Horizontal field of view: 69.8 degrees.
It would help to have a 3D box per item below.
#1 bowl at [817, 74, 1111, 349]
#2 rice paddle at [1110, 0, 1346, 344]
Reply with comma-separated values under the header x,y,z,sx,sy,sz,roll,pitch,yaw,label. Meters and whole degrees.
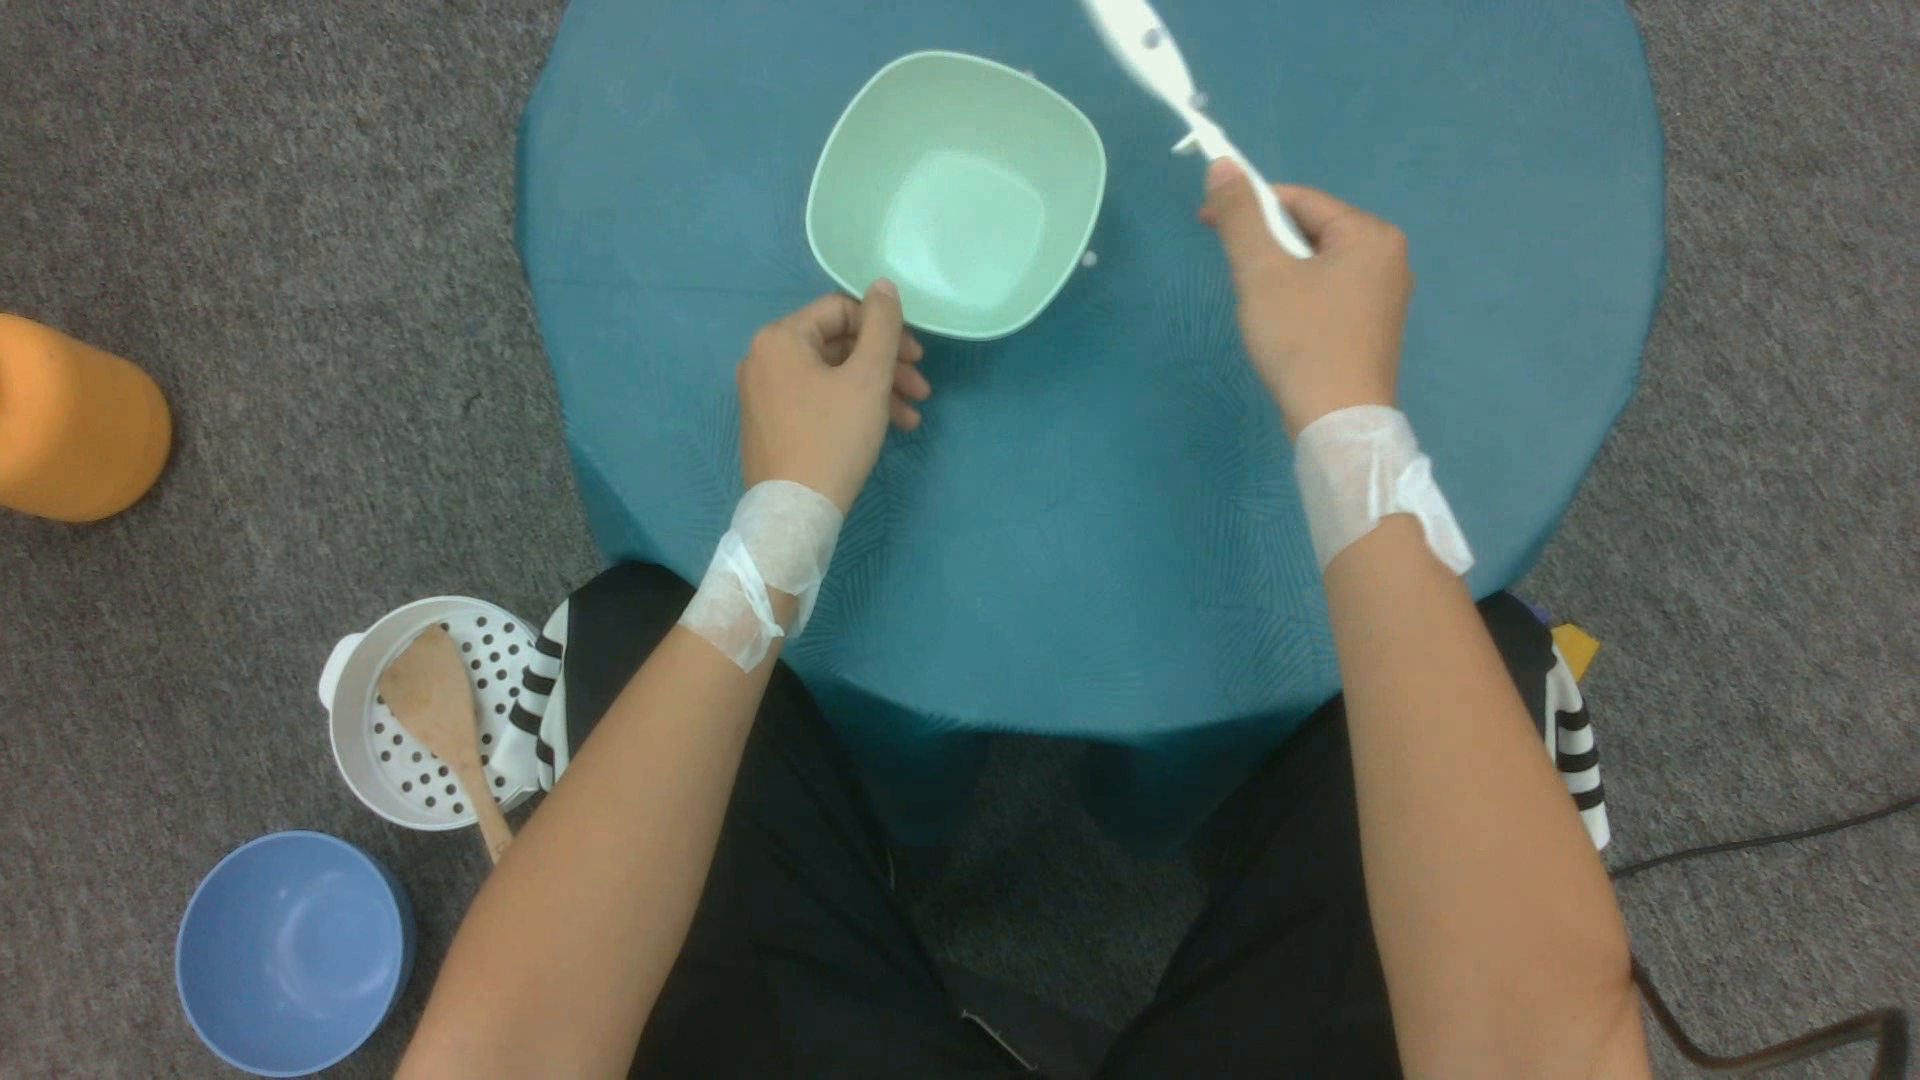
x,y,z,sx,sy,sz,roll,pitch,yaw,label
0.004,-0.161,0.713,0.151,0.058,0.152,-1,77,3,bowl
0.117,-0.186,0.636,0.029,0.069,0.205,-31,77,27,rice paddle
